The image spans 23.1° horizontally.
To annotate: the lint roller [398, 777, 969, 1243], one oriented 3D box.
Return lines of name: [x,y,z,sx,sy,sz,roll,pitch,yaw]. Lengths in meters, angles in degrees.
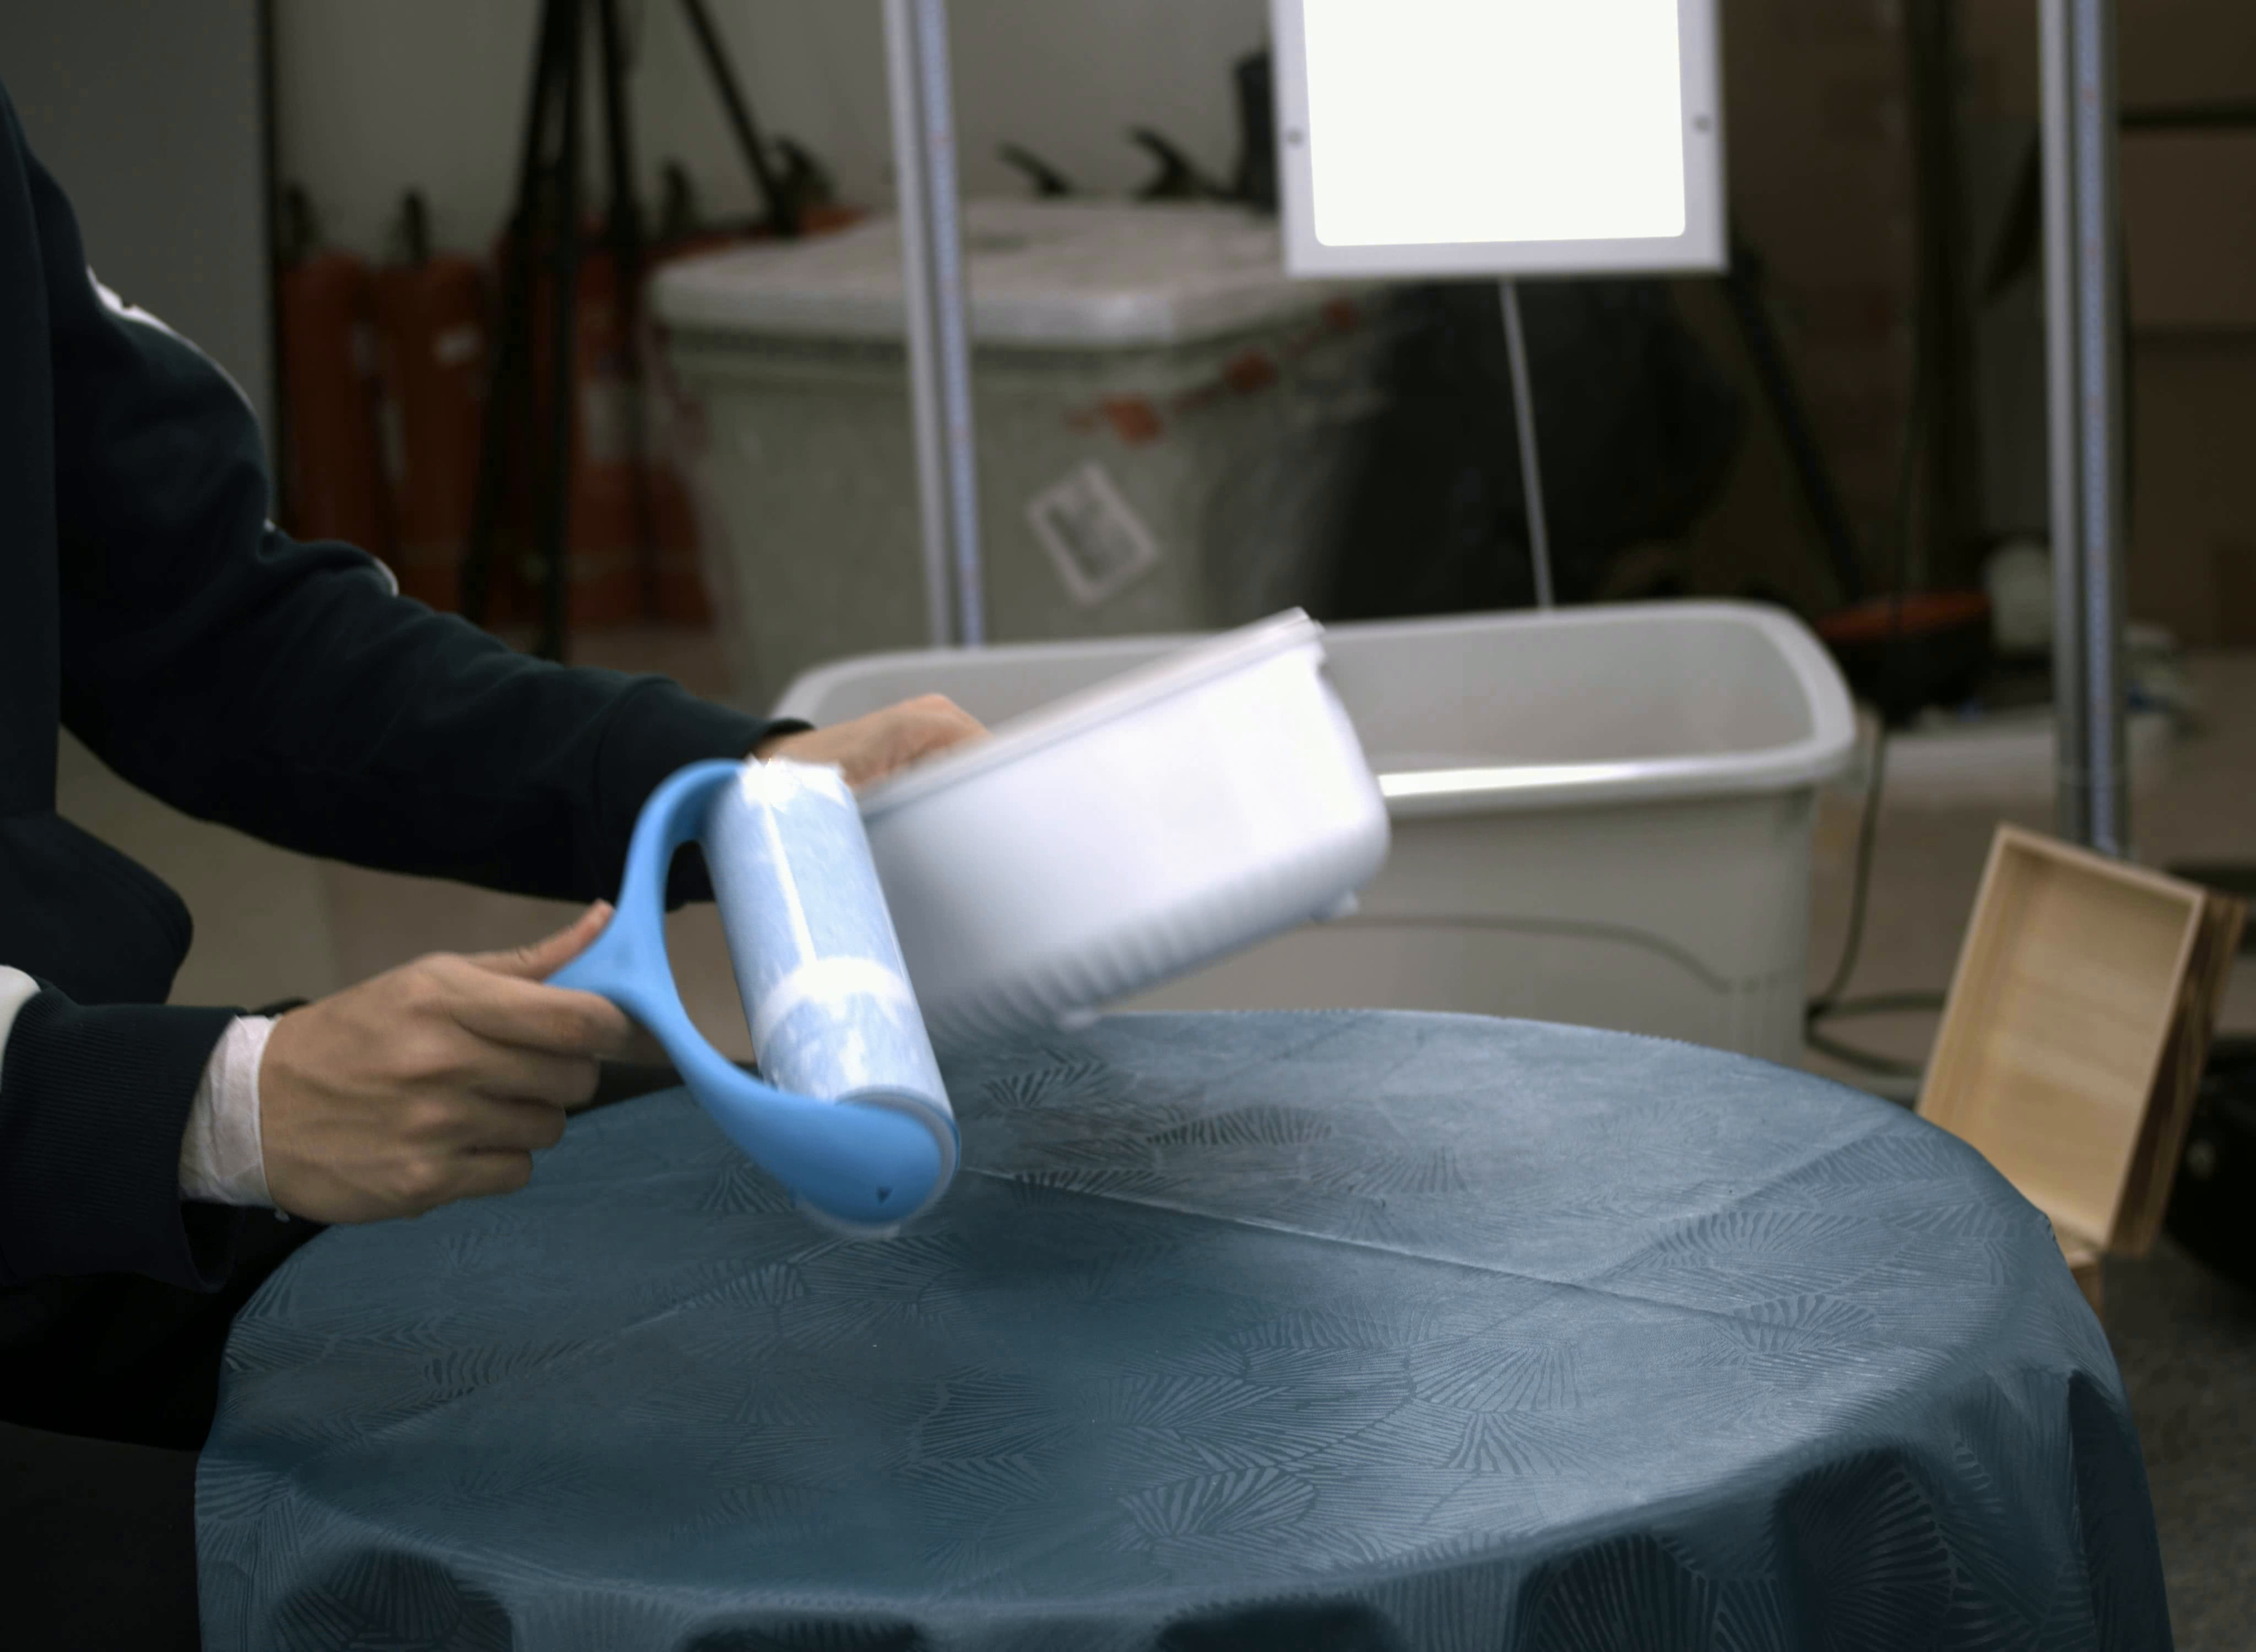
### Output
lint roller: [-0.148,0.071,1.718,0.179,0.068,0.230,-18,33,-3]

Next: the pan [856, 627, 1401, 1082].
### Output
pan: [-0.031,0.025,1.972,0.198,0.102,0.360,-23,0,-21]
